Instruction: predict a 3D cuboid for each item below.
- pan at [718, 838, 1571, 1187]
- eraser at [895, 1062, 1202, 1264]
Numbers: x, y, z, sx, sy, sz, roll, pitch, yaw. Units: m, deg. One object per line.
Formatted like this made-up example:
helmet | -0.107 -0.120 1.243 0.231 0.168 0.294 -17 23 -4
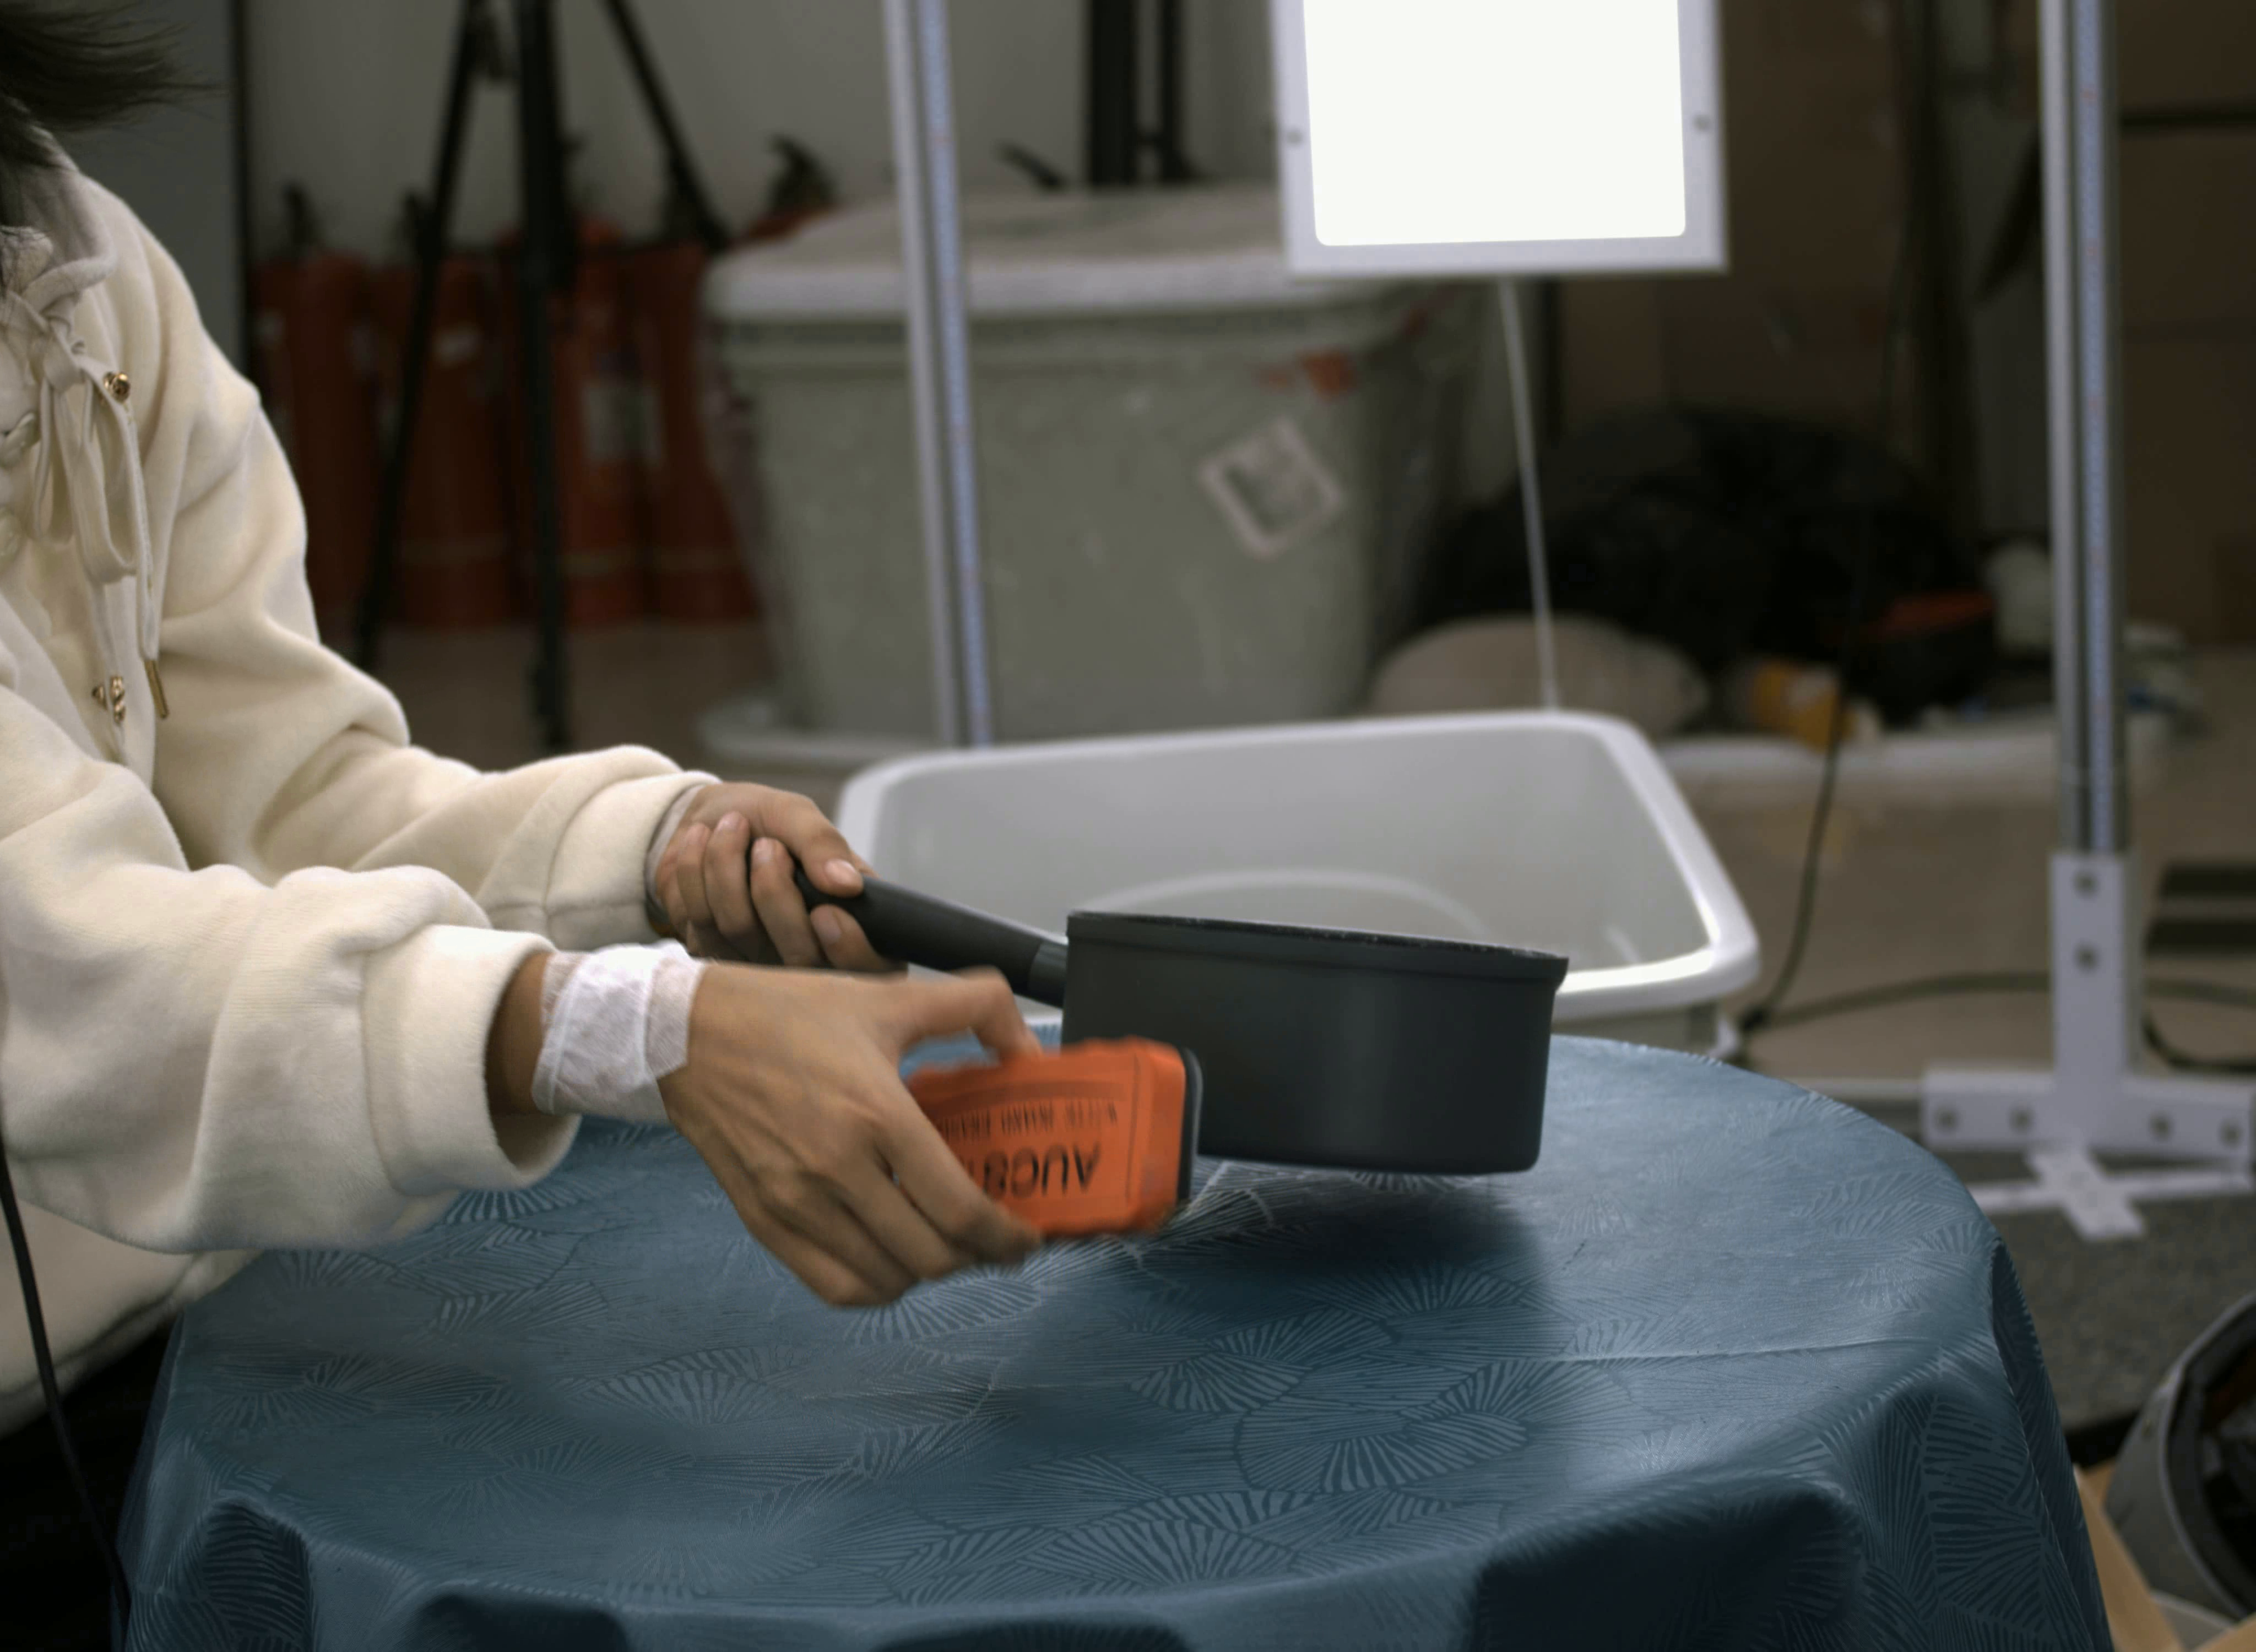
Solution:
pan | -0.007 0.064 1.881 0.335 0.087 0.168 7 2 34
eraser | -0.025 0.104 1.696 0.110 0.059 0.022 -7 -19 44
